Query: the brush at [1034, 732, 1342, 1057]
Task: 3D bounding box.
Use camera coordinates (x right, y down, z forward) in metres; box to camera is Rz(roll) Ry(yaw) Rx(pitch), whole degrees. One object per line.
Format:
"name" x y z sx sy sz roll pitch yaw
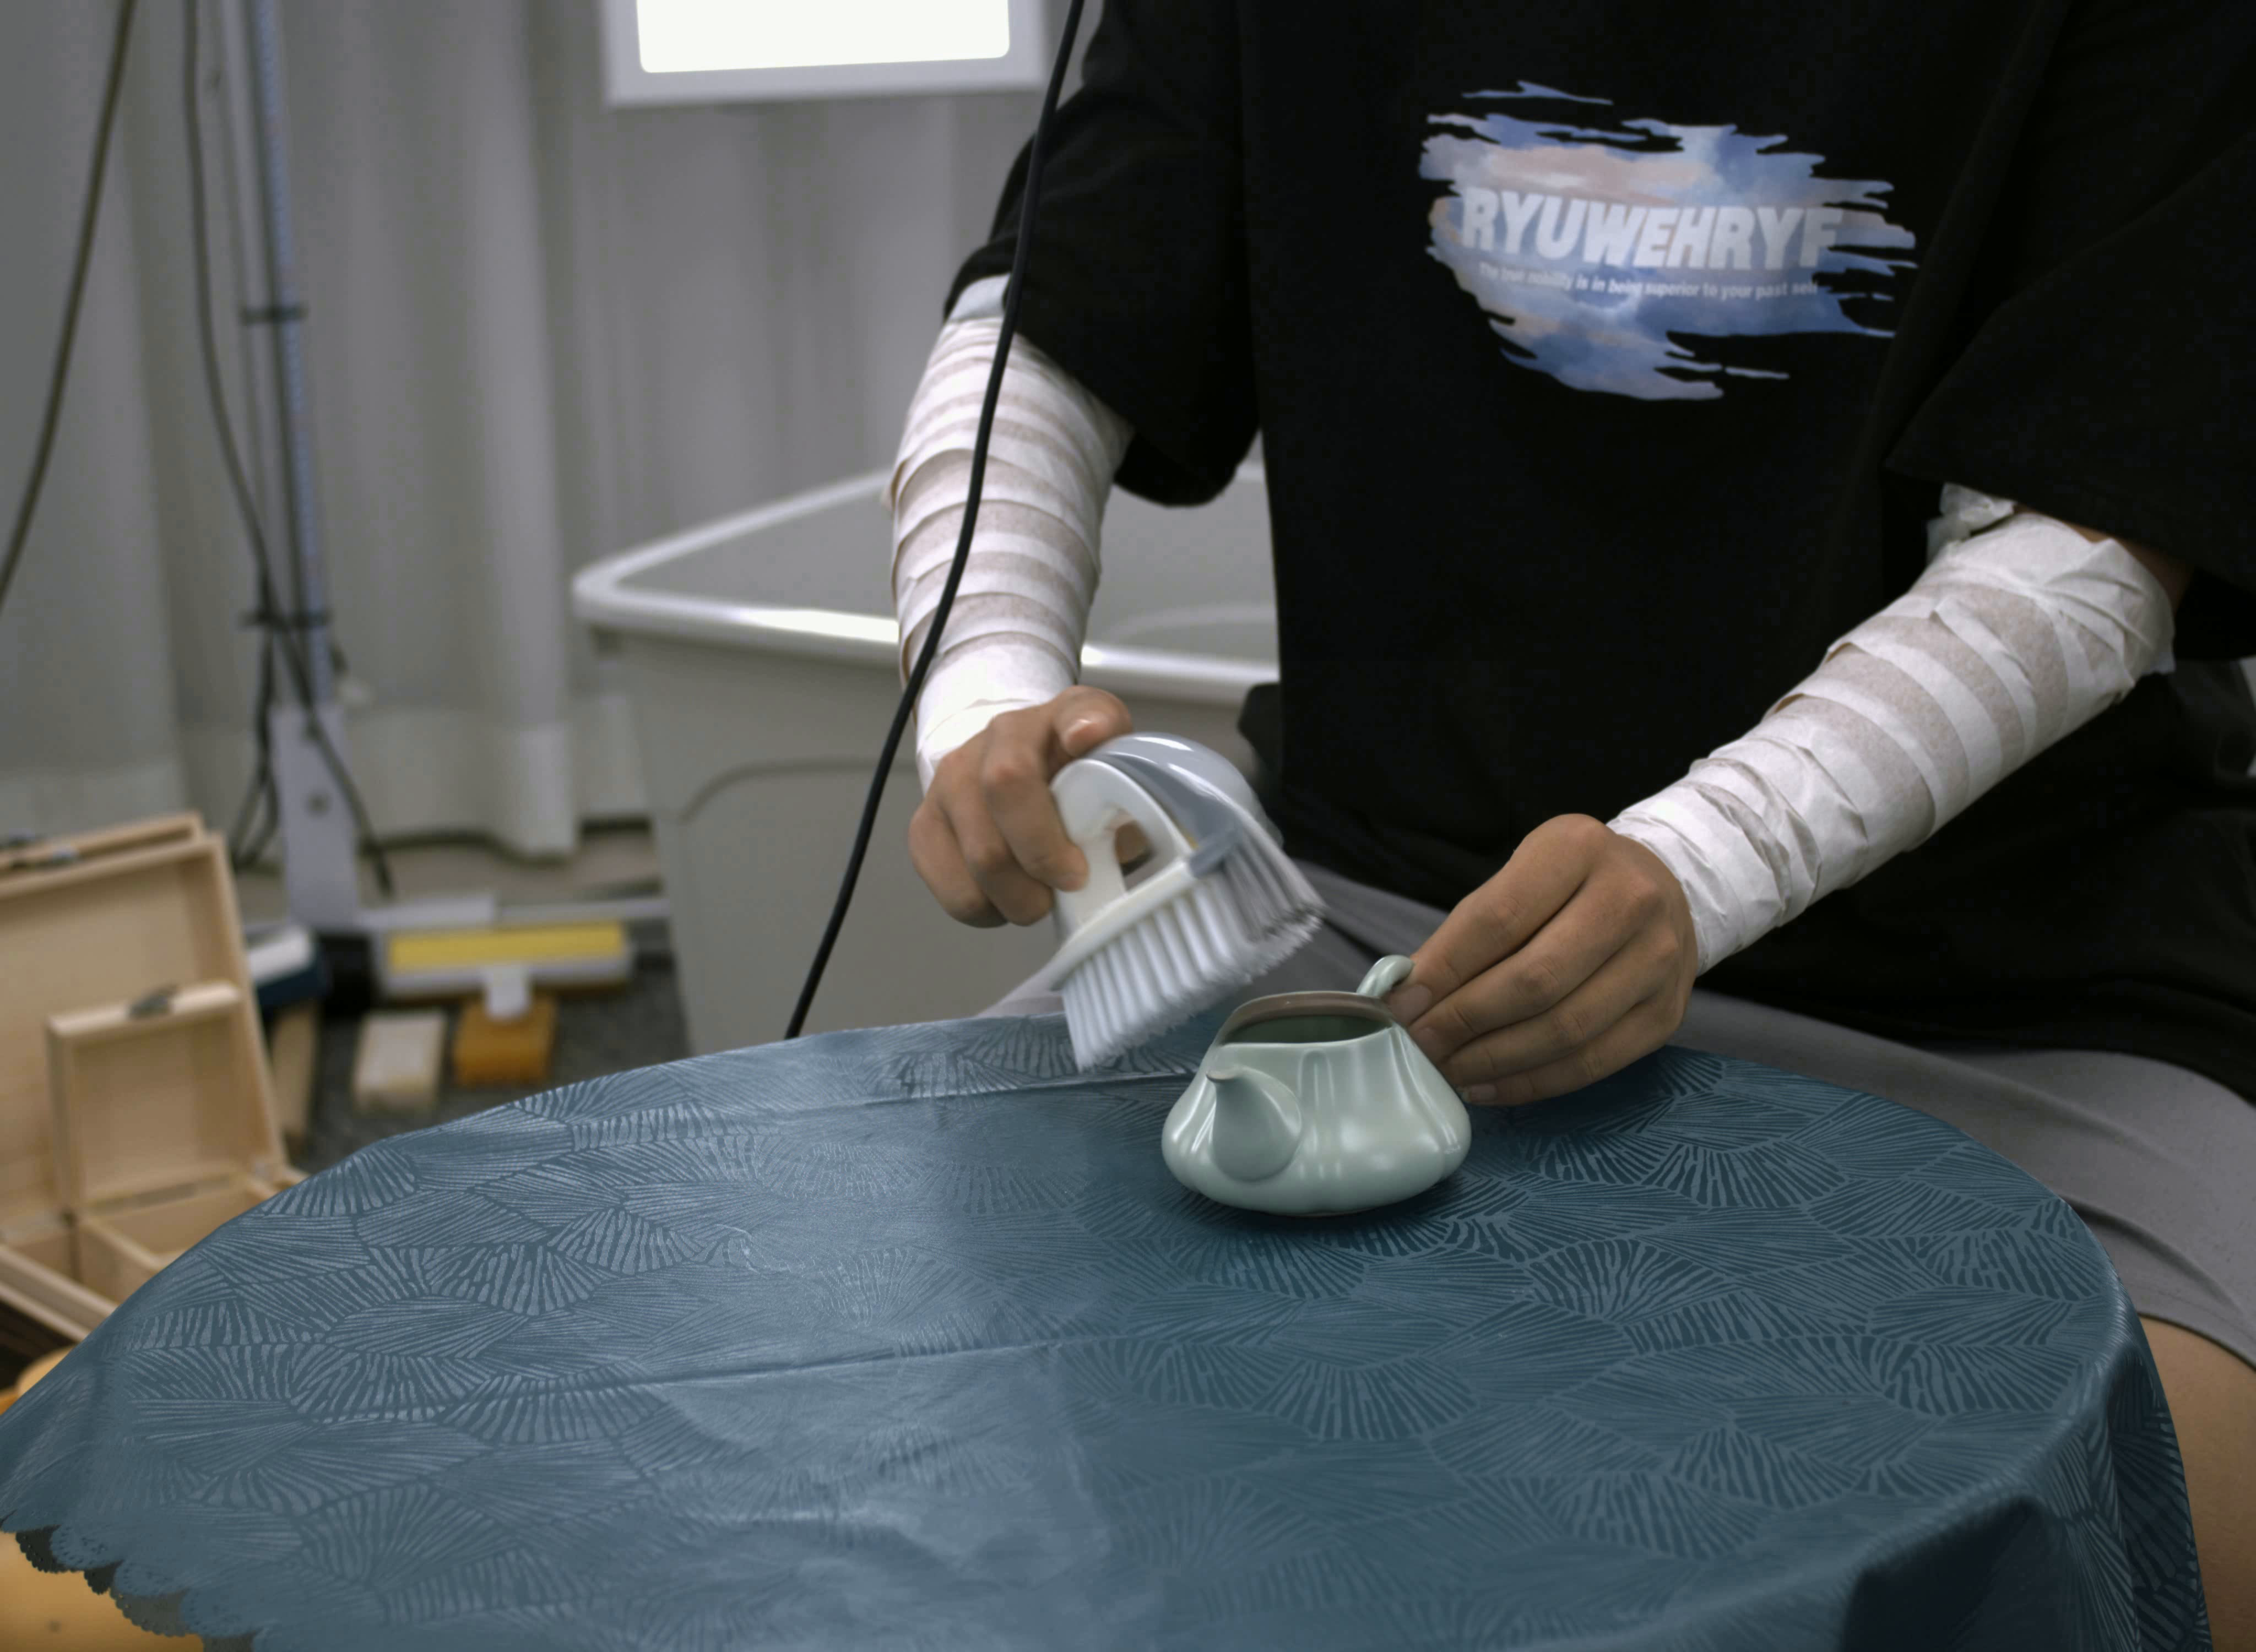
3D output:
"brush" 0.016 0.012 1.755 0.061 0.094 0.175 -26 -4 -23

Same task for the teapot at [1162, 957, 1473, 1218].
"teapot" 0.060 0.084 1.700 0.096 0.061 0.137 2 15 27
